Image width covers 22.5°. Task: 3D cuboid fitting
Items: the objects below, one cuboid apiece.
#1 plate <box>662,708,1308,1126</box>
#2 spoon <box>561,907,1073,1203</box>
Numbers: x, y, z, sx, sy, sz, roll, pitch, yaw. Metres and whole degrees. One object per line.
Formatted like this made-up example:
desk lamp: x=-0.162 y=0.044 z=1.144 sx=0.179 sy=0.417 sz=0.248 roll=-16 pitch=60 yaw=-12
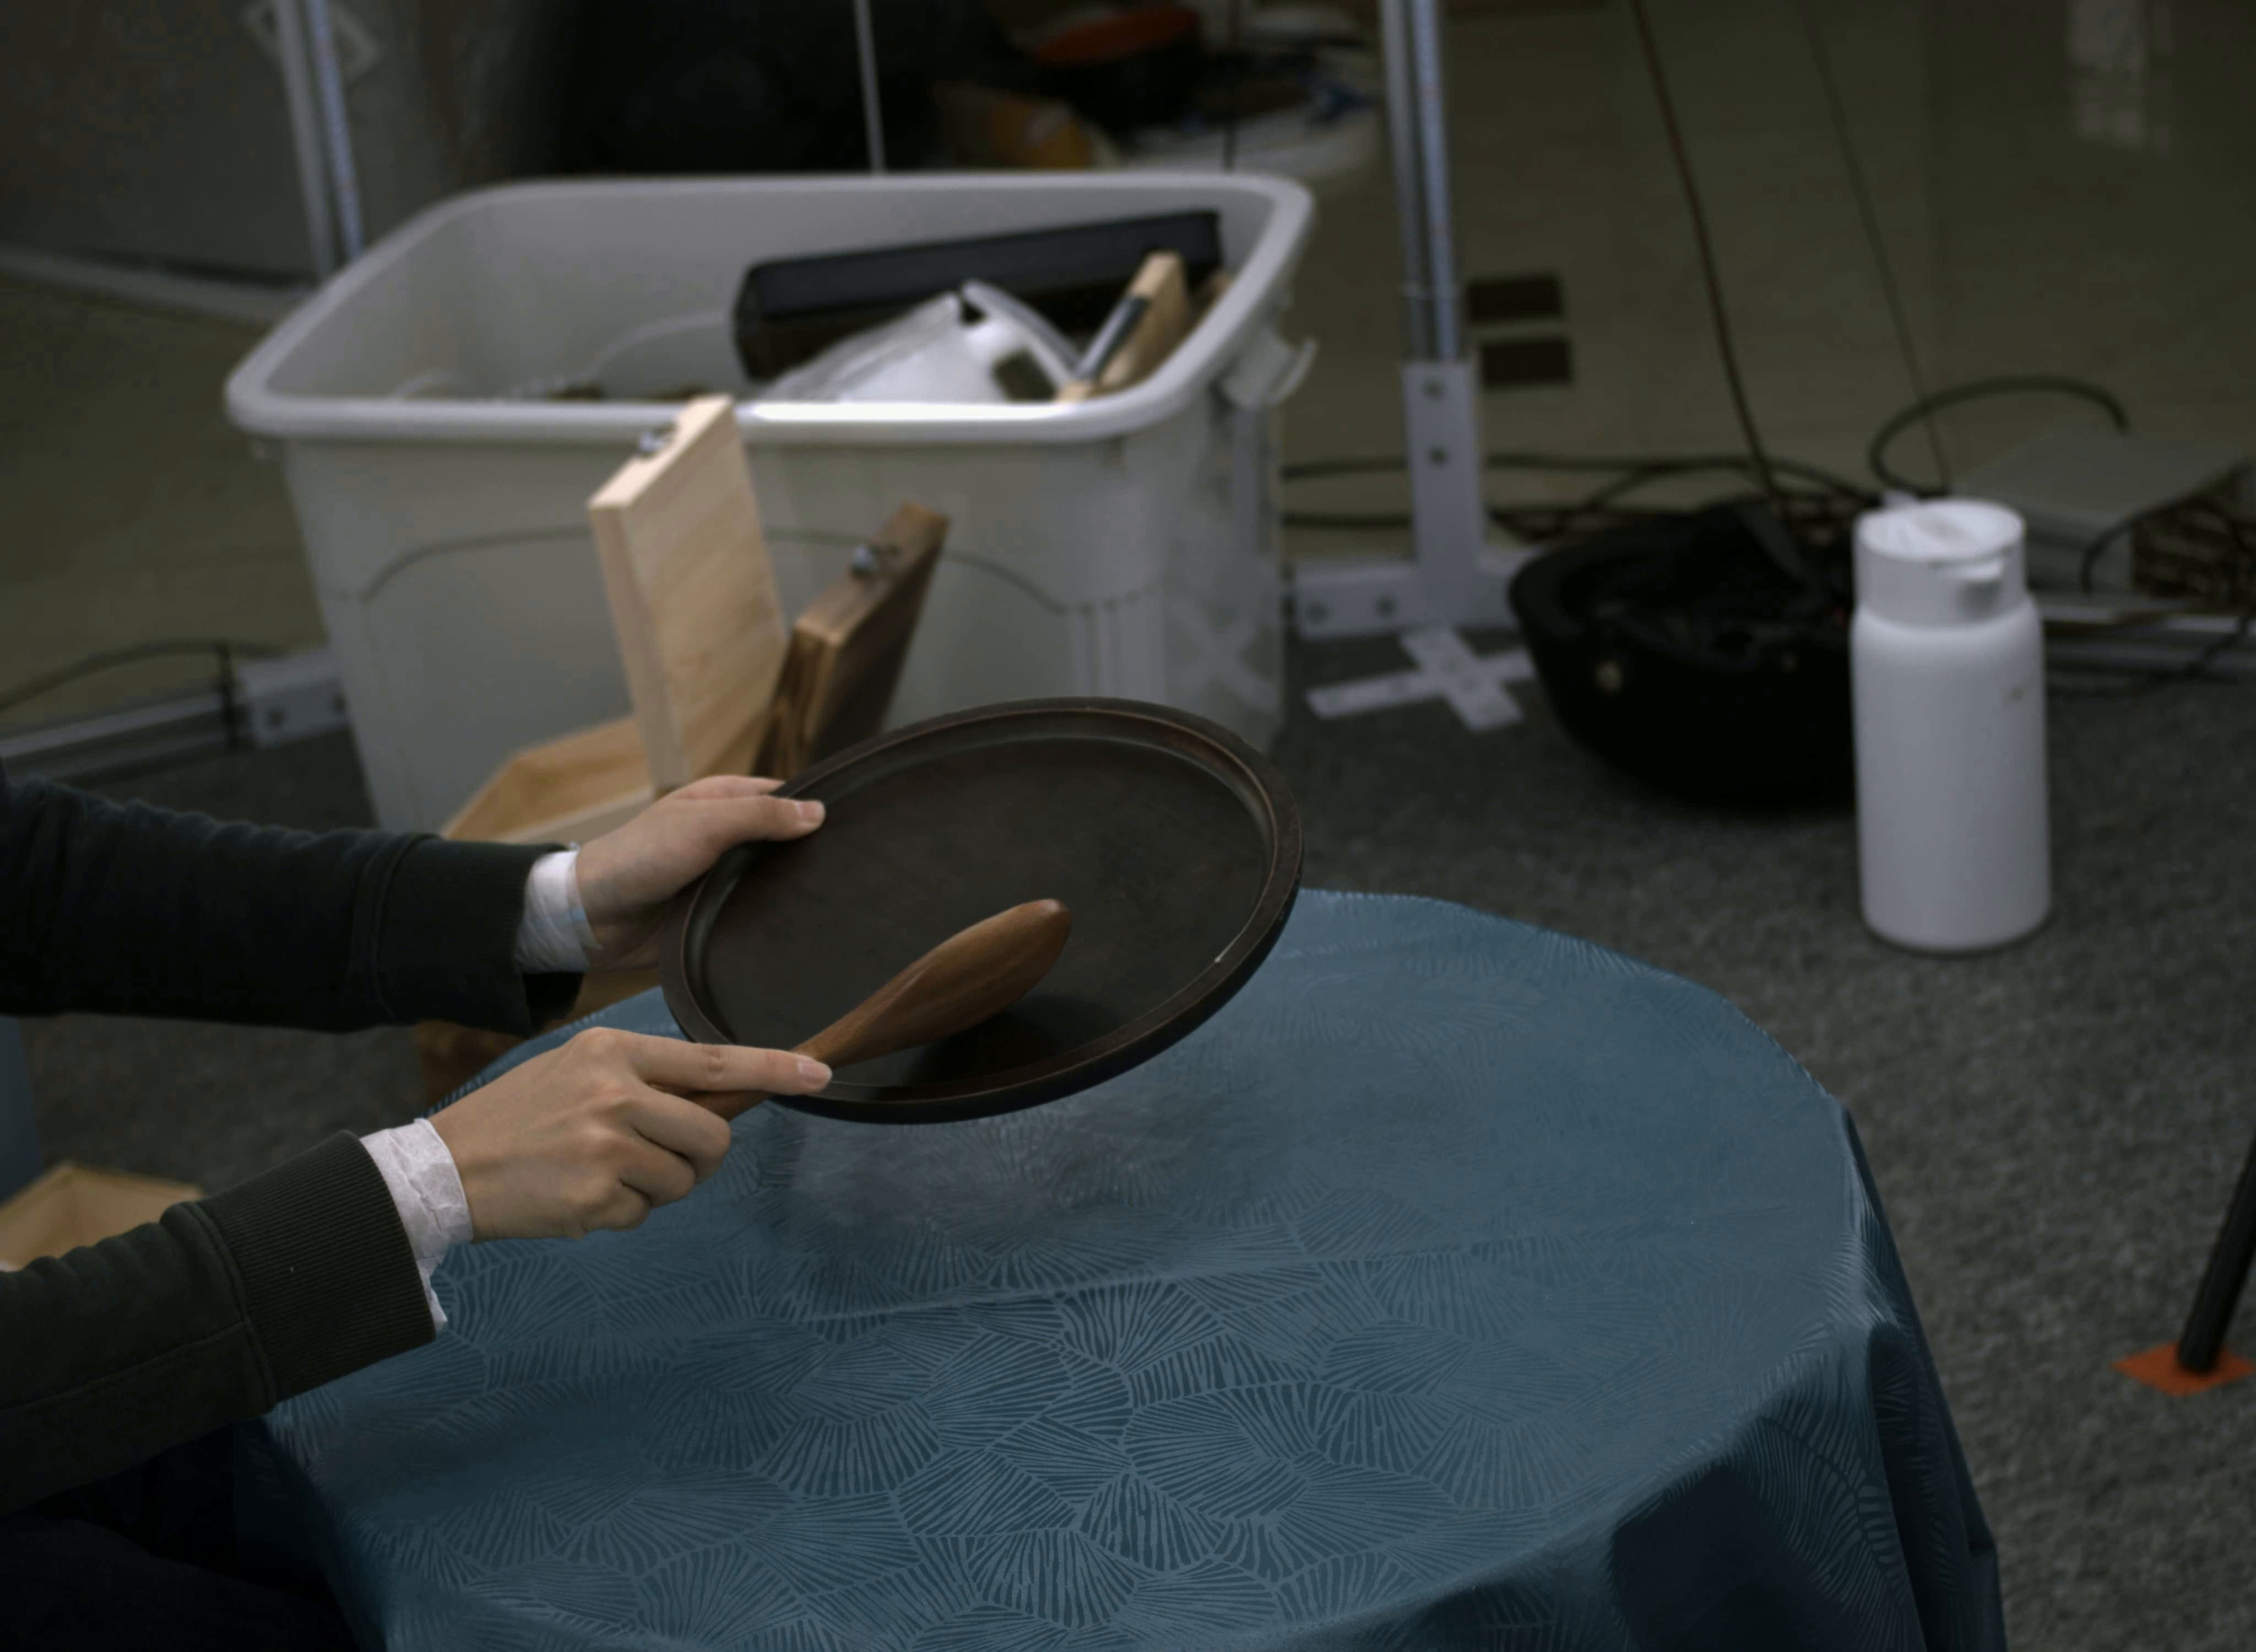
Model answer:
plate: x=-0.054 y=0.033 z=2.166 sx=0.254 sy=0.029 sz=0.250 roll=-9 pitch=35 yaw=7
spoon: x=-0.110 y=0.084 z=2.056 sx=0.214 sy=0.076 sz=0.017 roll=-25 pitch=72 yaw=-20
